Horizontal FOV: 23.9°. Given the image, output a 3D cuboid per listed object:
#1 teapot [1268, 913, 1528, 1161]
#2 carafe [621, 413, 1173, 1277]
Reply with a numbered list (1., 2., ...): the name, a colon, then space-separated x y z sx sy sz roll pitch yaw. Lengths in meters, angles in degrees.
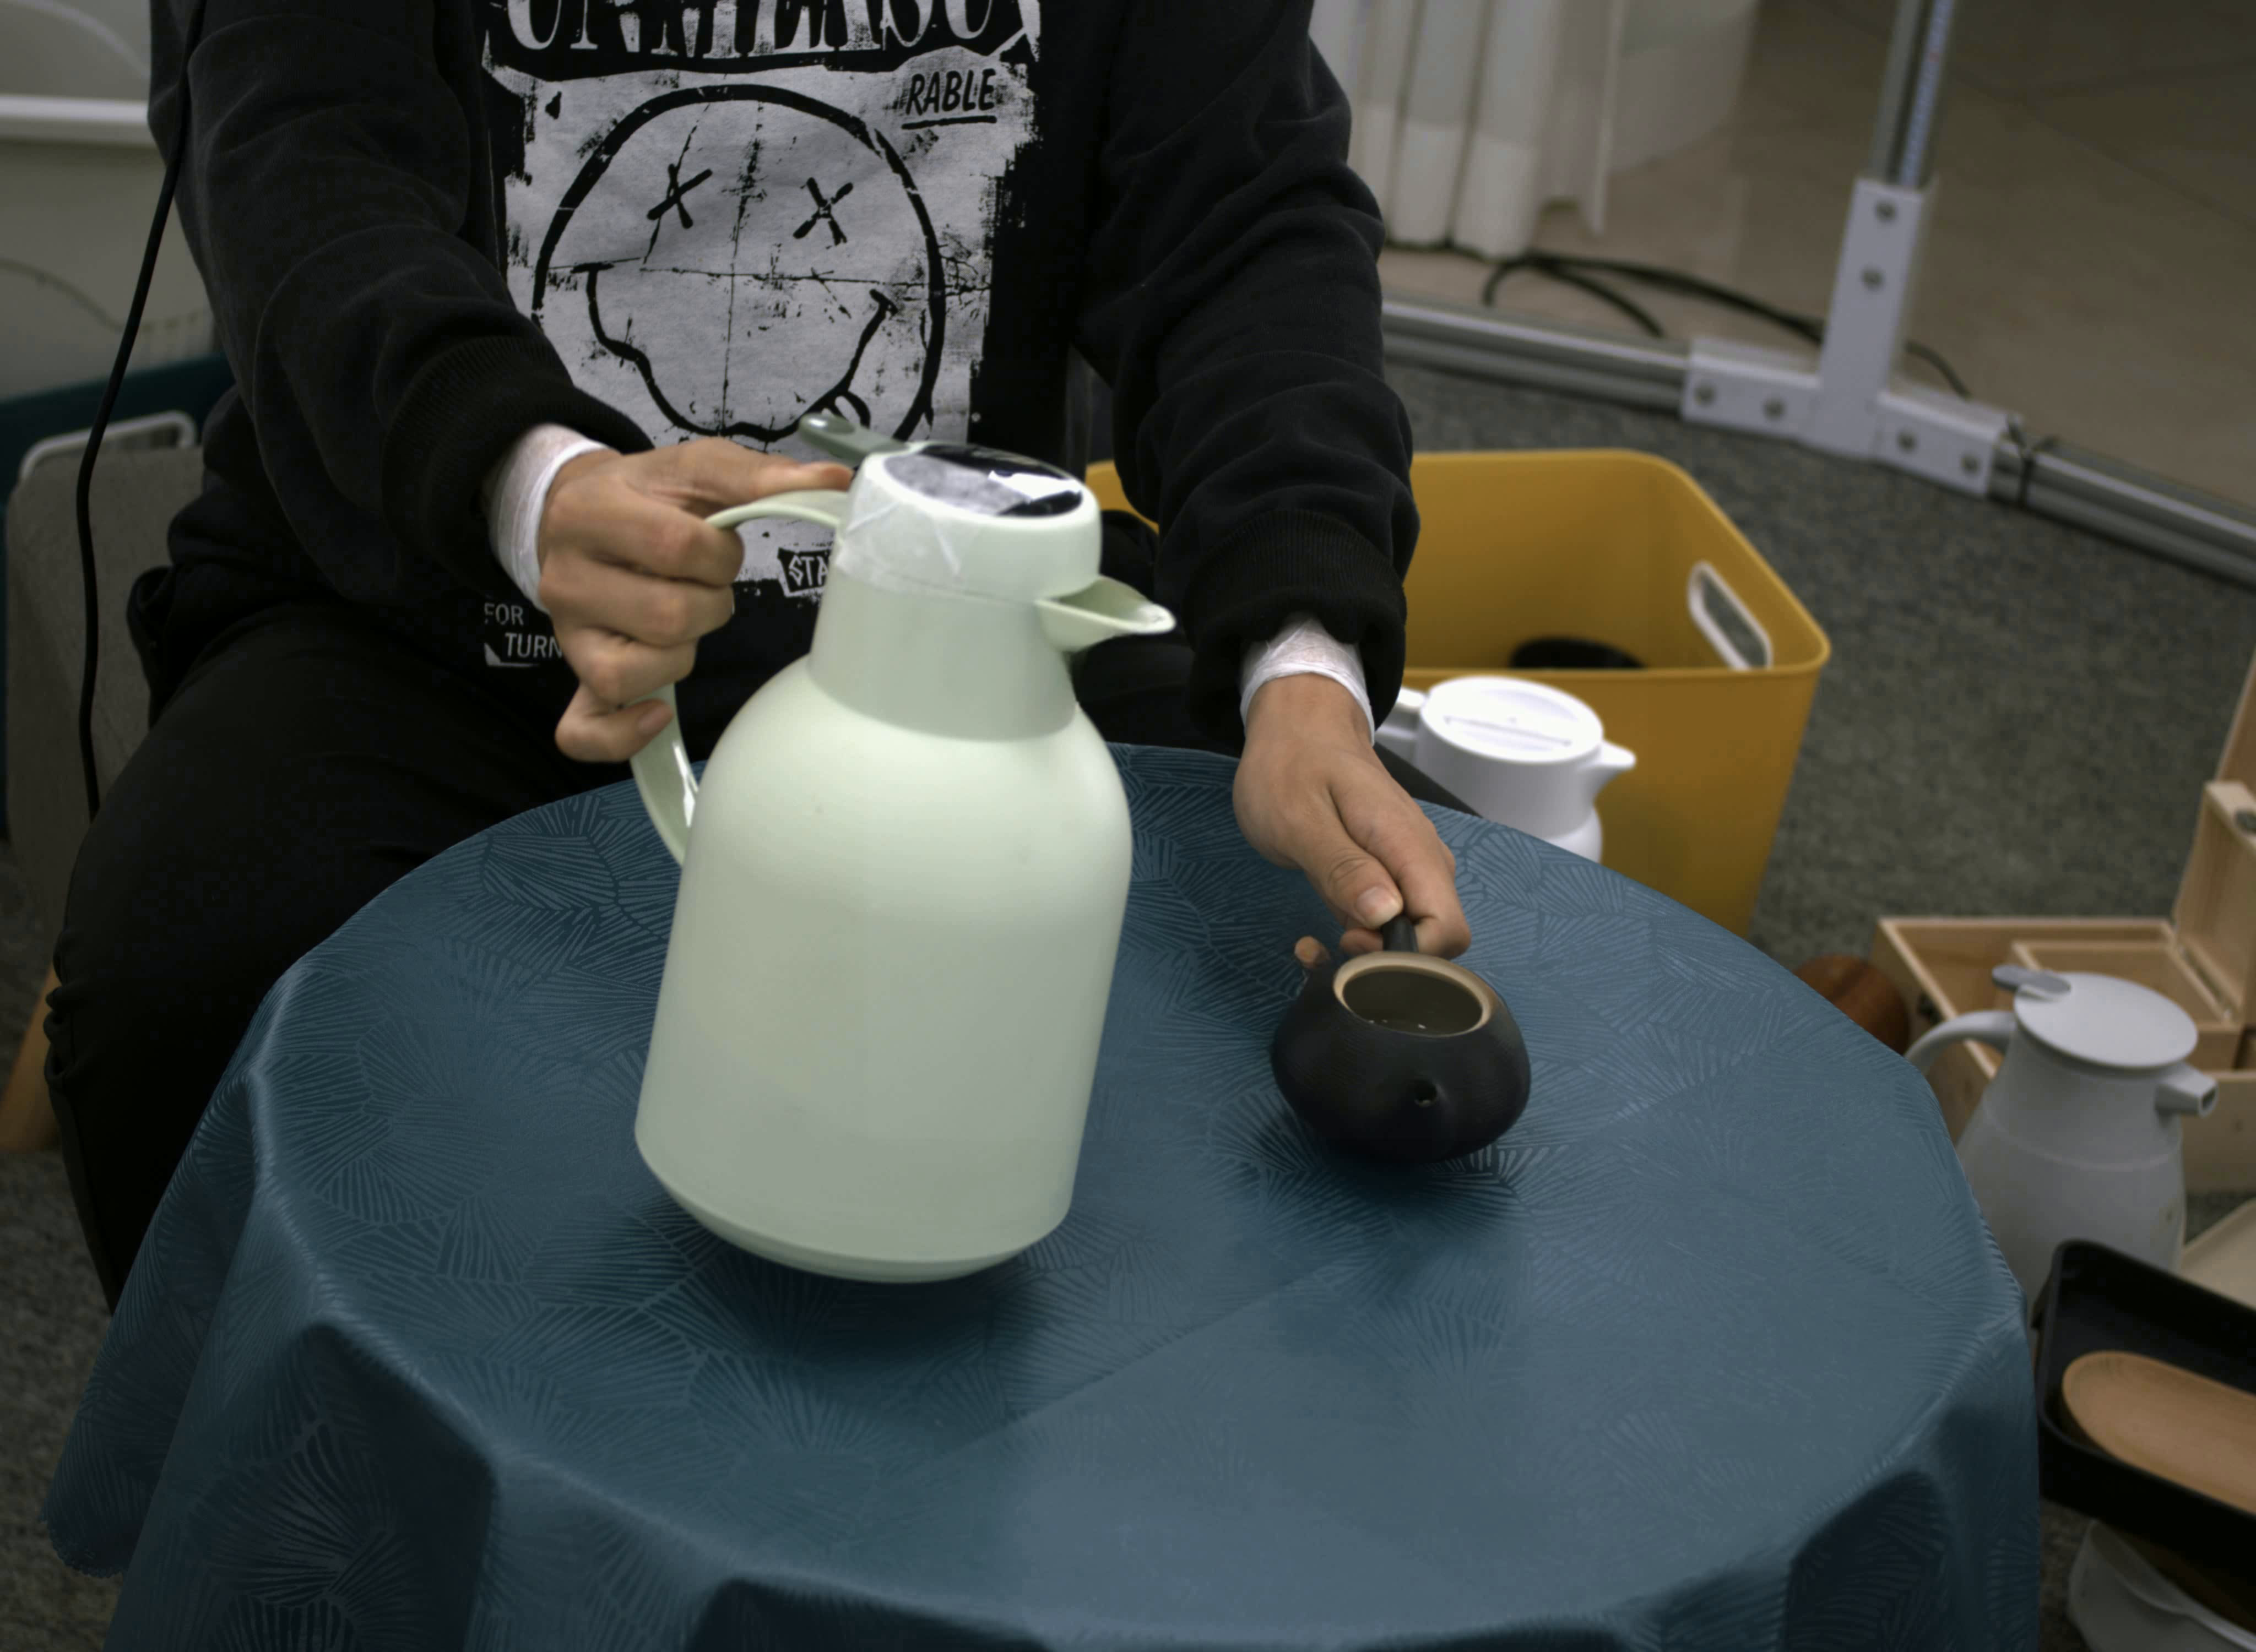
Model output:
1. teapot: 0.094 0.079 1.841 0.090 0.053 0.134 7 28 -5
2. carafe: -0.081 0.001 1.702 0.187 0.256 0.144 17 22 24
